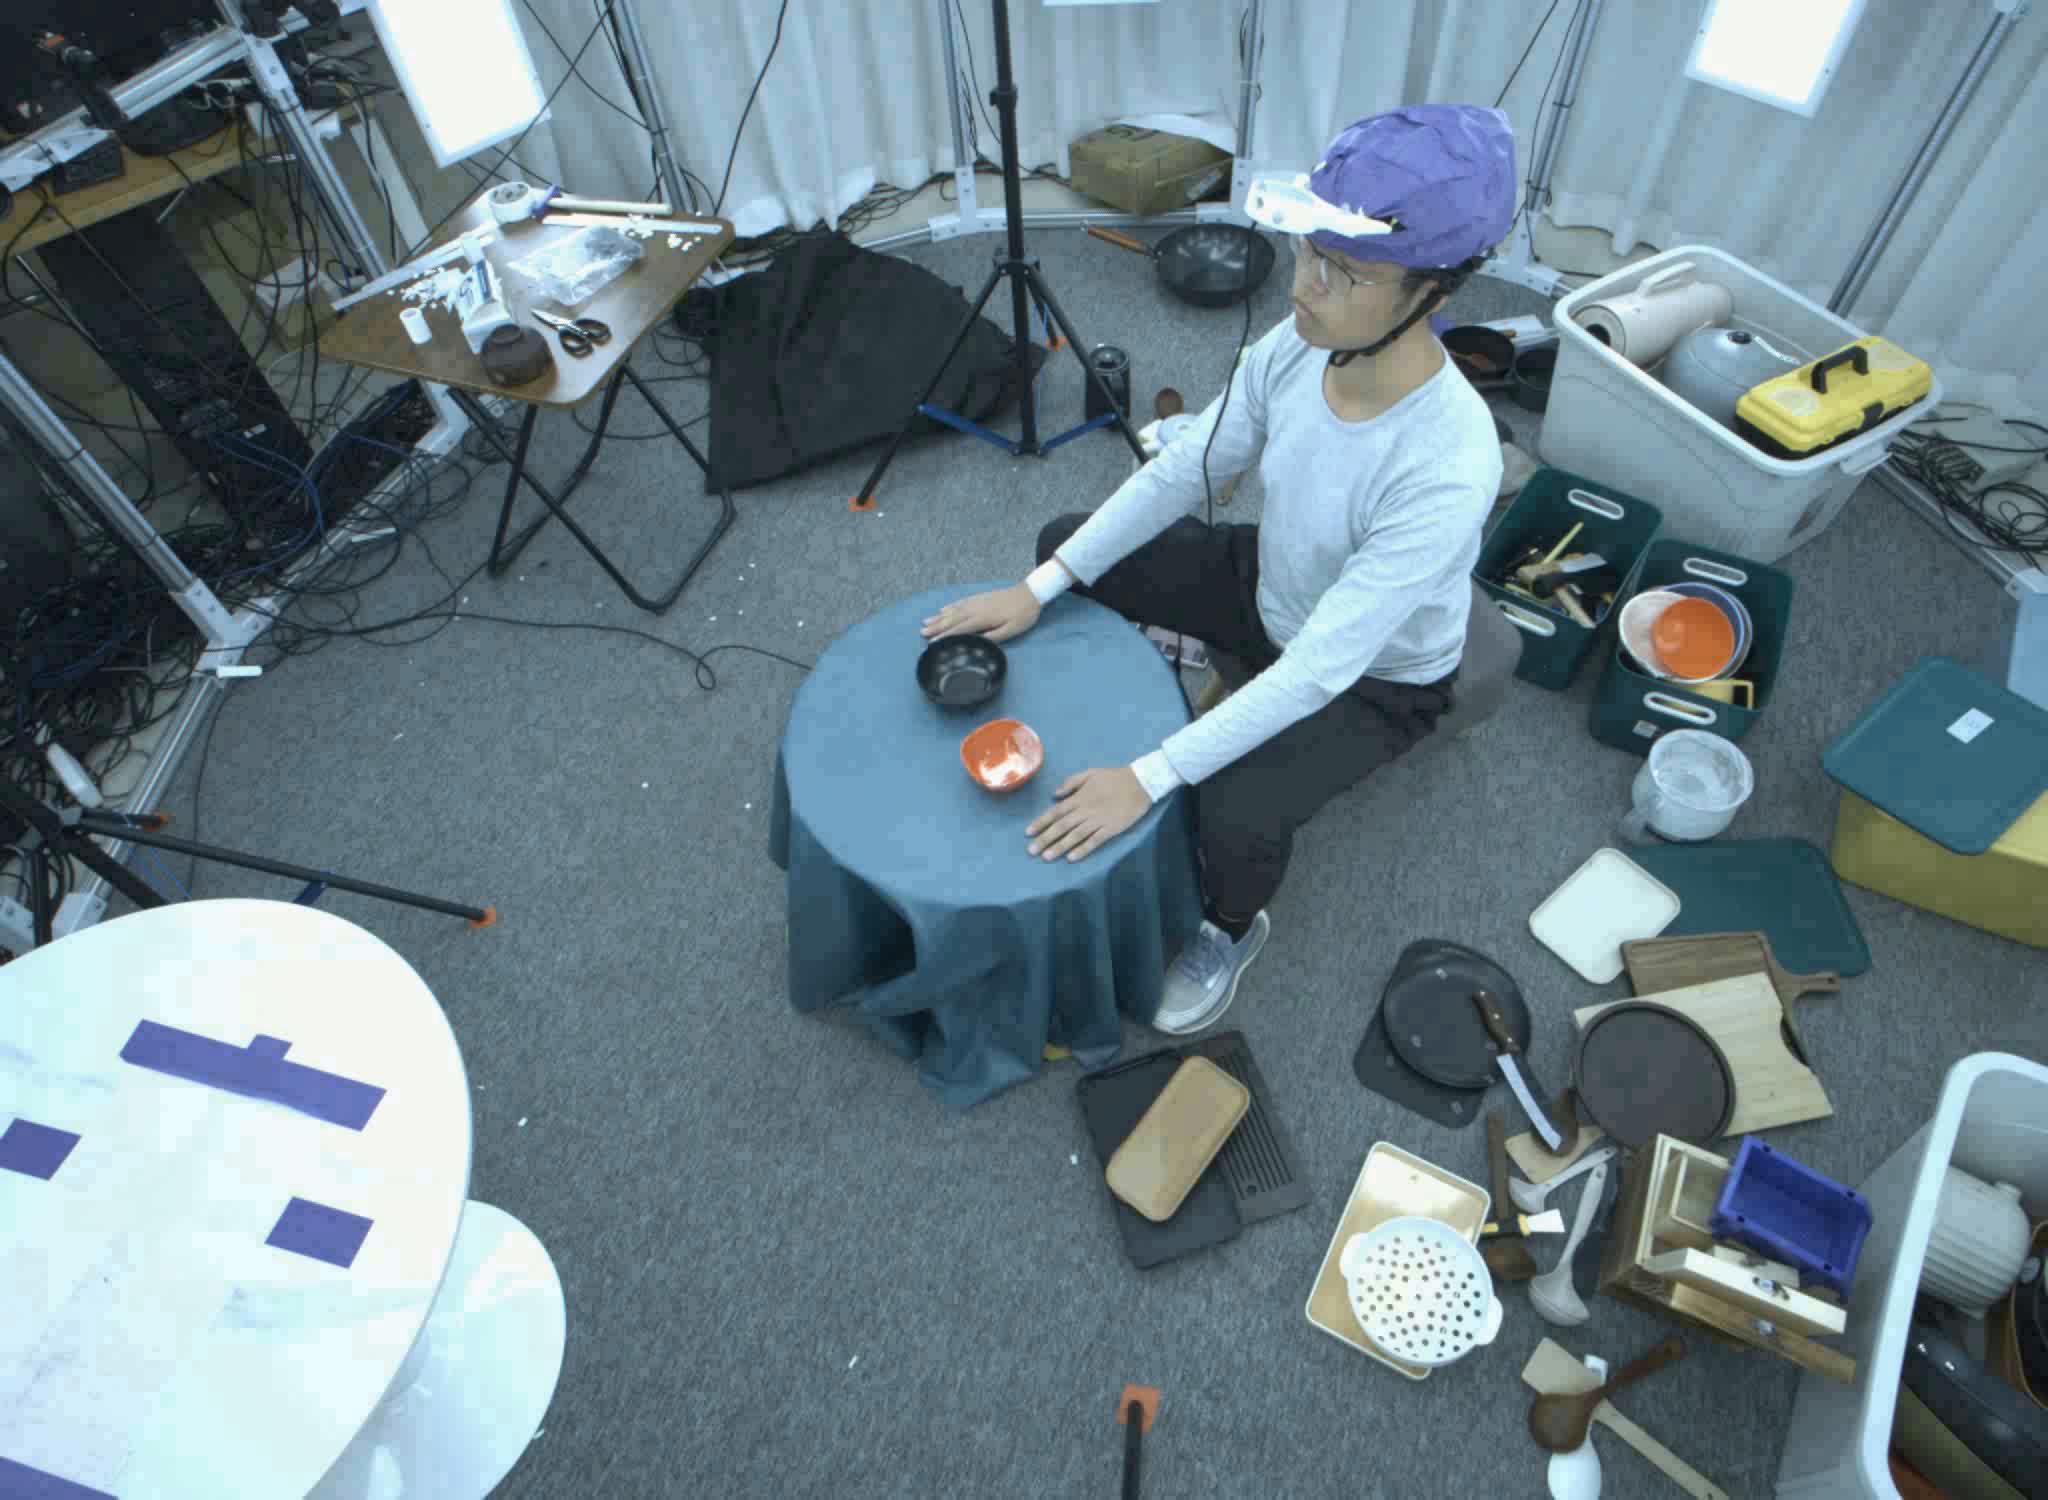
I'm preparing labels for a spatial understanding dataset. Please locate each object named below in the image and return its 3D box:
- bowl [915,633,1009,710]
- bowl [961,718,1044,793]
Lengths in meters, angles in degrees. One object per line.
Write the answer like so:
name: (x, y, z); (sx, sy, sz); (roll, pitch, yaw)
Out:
bowl: (-0.092, -0.109, 1.847); (0.140, 0.050, 0.138); (1, 54, -1)
bowl: (-0.029, 0.015, 1.752); (0.119, 0.052, 0.117); (-2, 54, 3)
